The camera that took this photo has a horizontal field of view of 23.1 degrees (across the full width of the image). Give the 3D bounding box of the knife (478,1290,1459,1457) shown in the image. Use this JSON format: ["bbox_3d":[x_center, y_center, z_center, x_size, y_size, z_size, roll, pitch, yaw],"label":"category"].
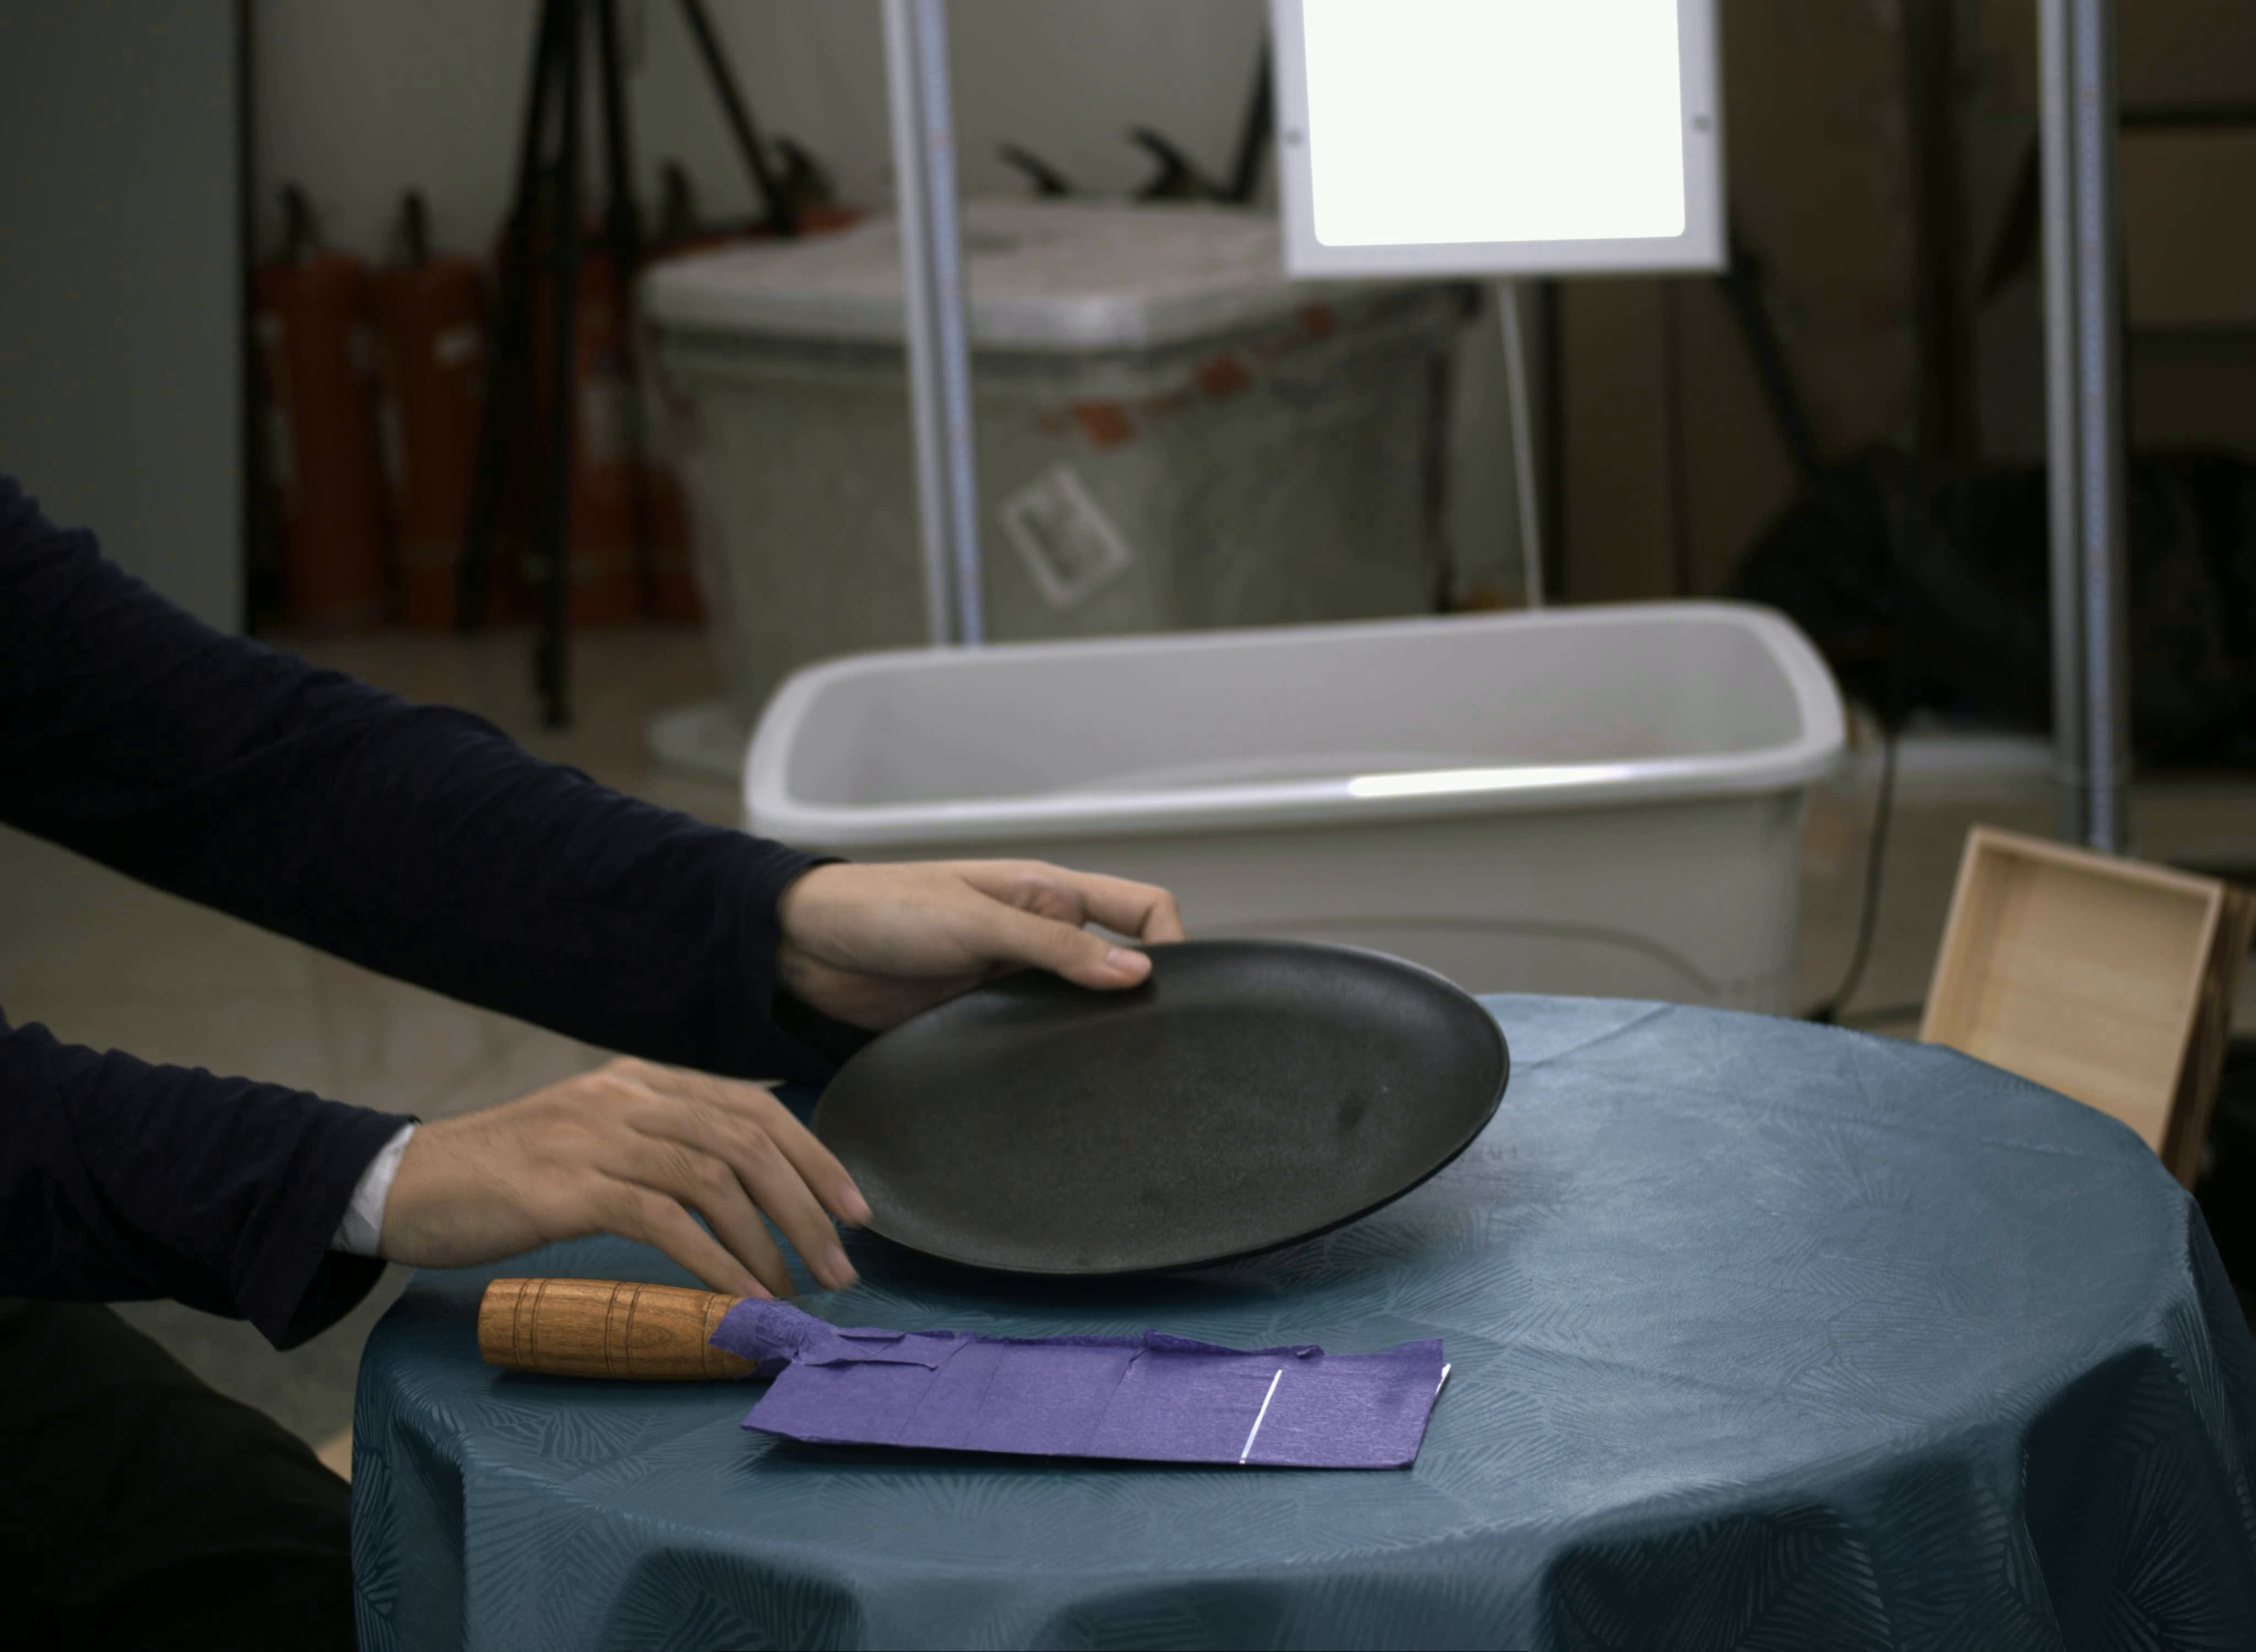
[{"bbox_3d":[-0.058,0.169,1.695,0.318,0.032,0.102,-1,14,15],"label":"knife"}]

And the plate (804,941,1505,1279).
[{"bbox_3d":[0.010,0.102,1.886,0.244,0.023,0.244,-8,24,2],"label":"plate"}]
